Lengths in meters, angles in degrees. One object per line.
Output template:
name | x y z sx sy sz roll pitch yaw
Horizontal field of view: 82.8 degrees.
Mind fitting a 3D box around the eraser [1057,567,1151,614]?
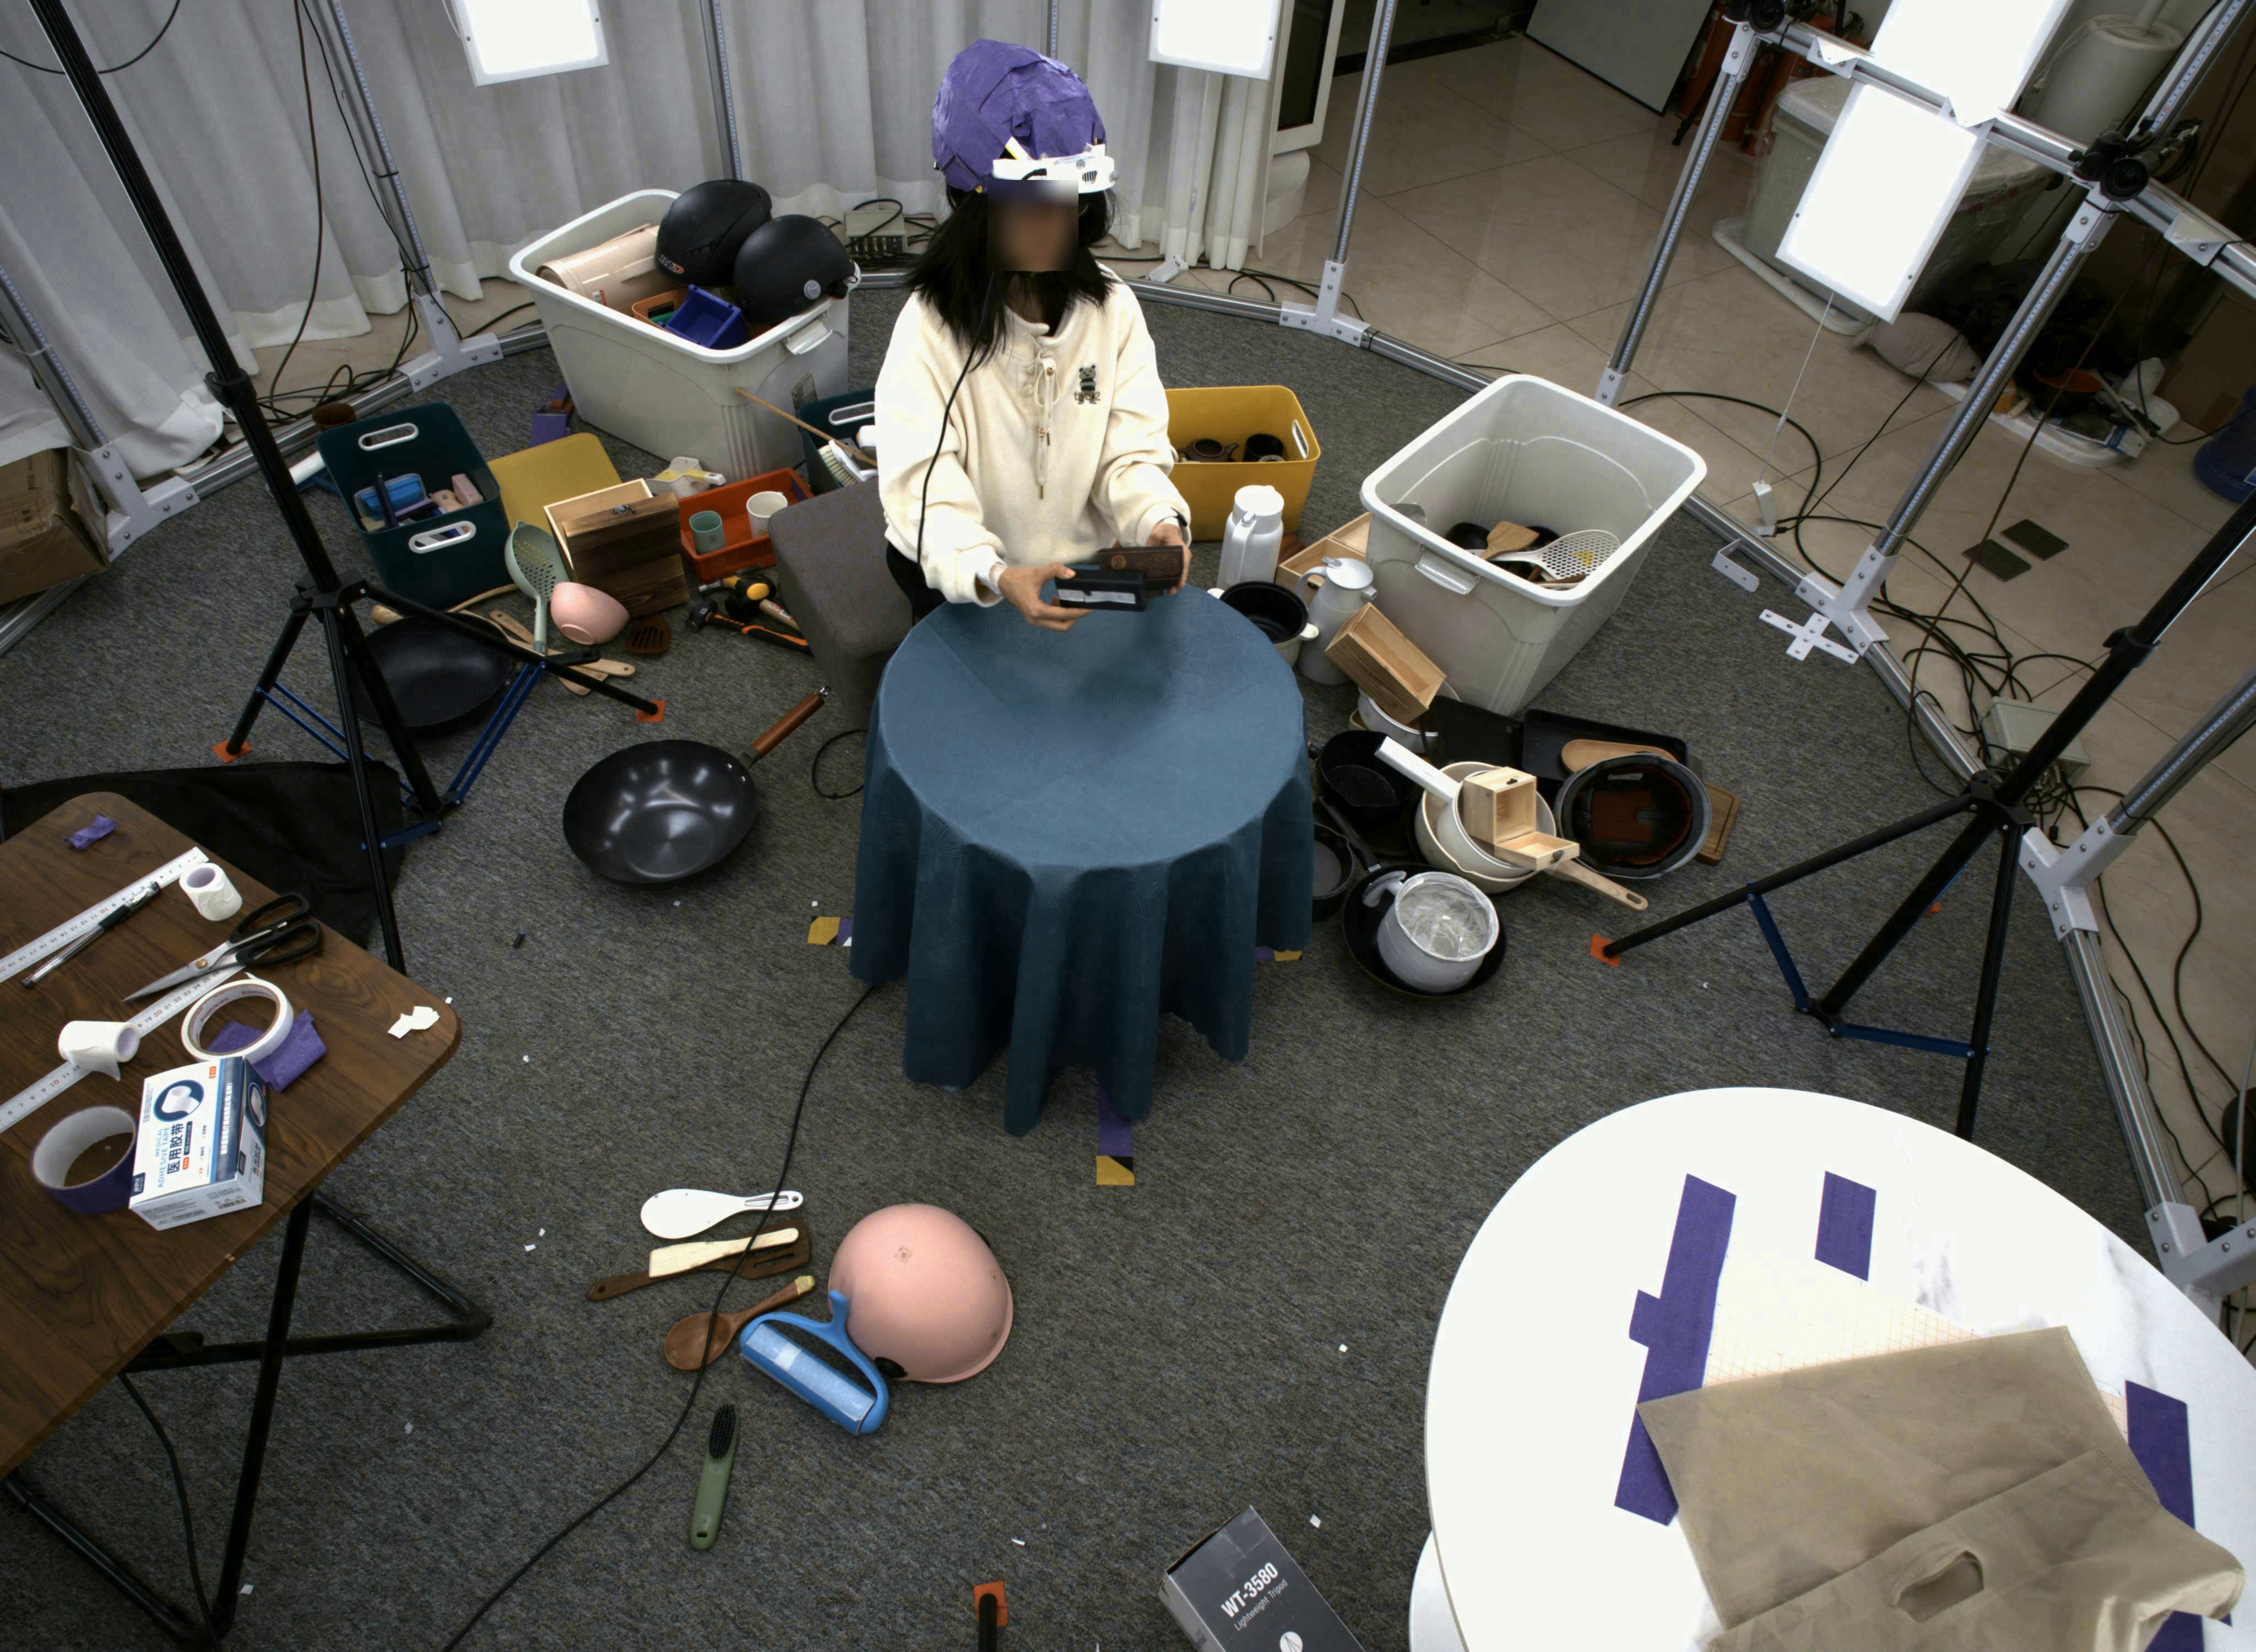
eraser | -0.032 -0.321 1.748 0.126 0.052 0.031 8 47 20

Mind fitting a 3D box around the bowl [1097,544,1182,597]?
bowl | 0.017 -0.354 1.789 0.118 0.069 0.119 -2 10 0
